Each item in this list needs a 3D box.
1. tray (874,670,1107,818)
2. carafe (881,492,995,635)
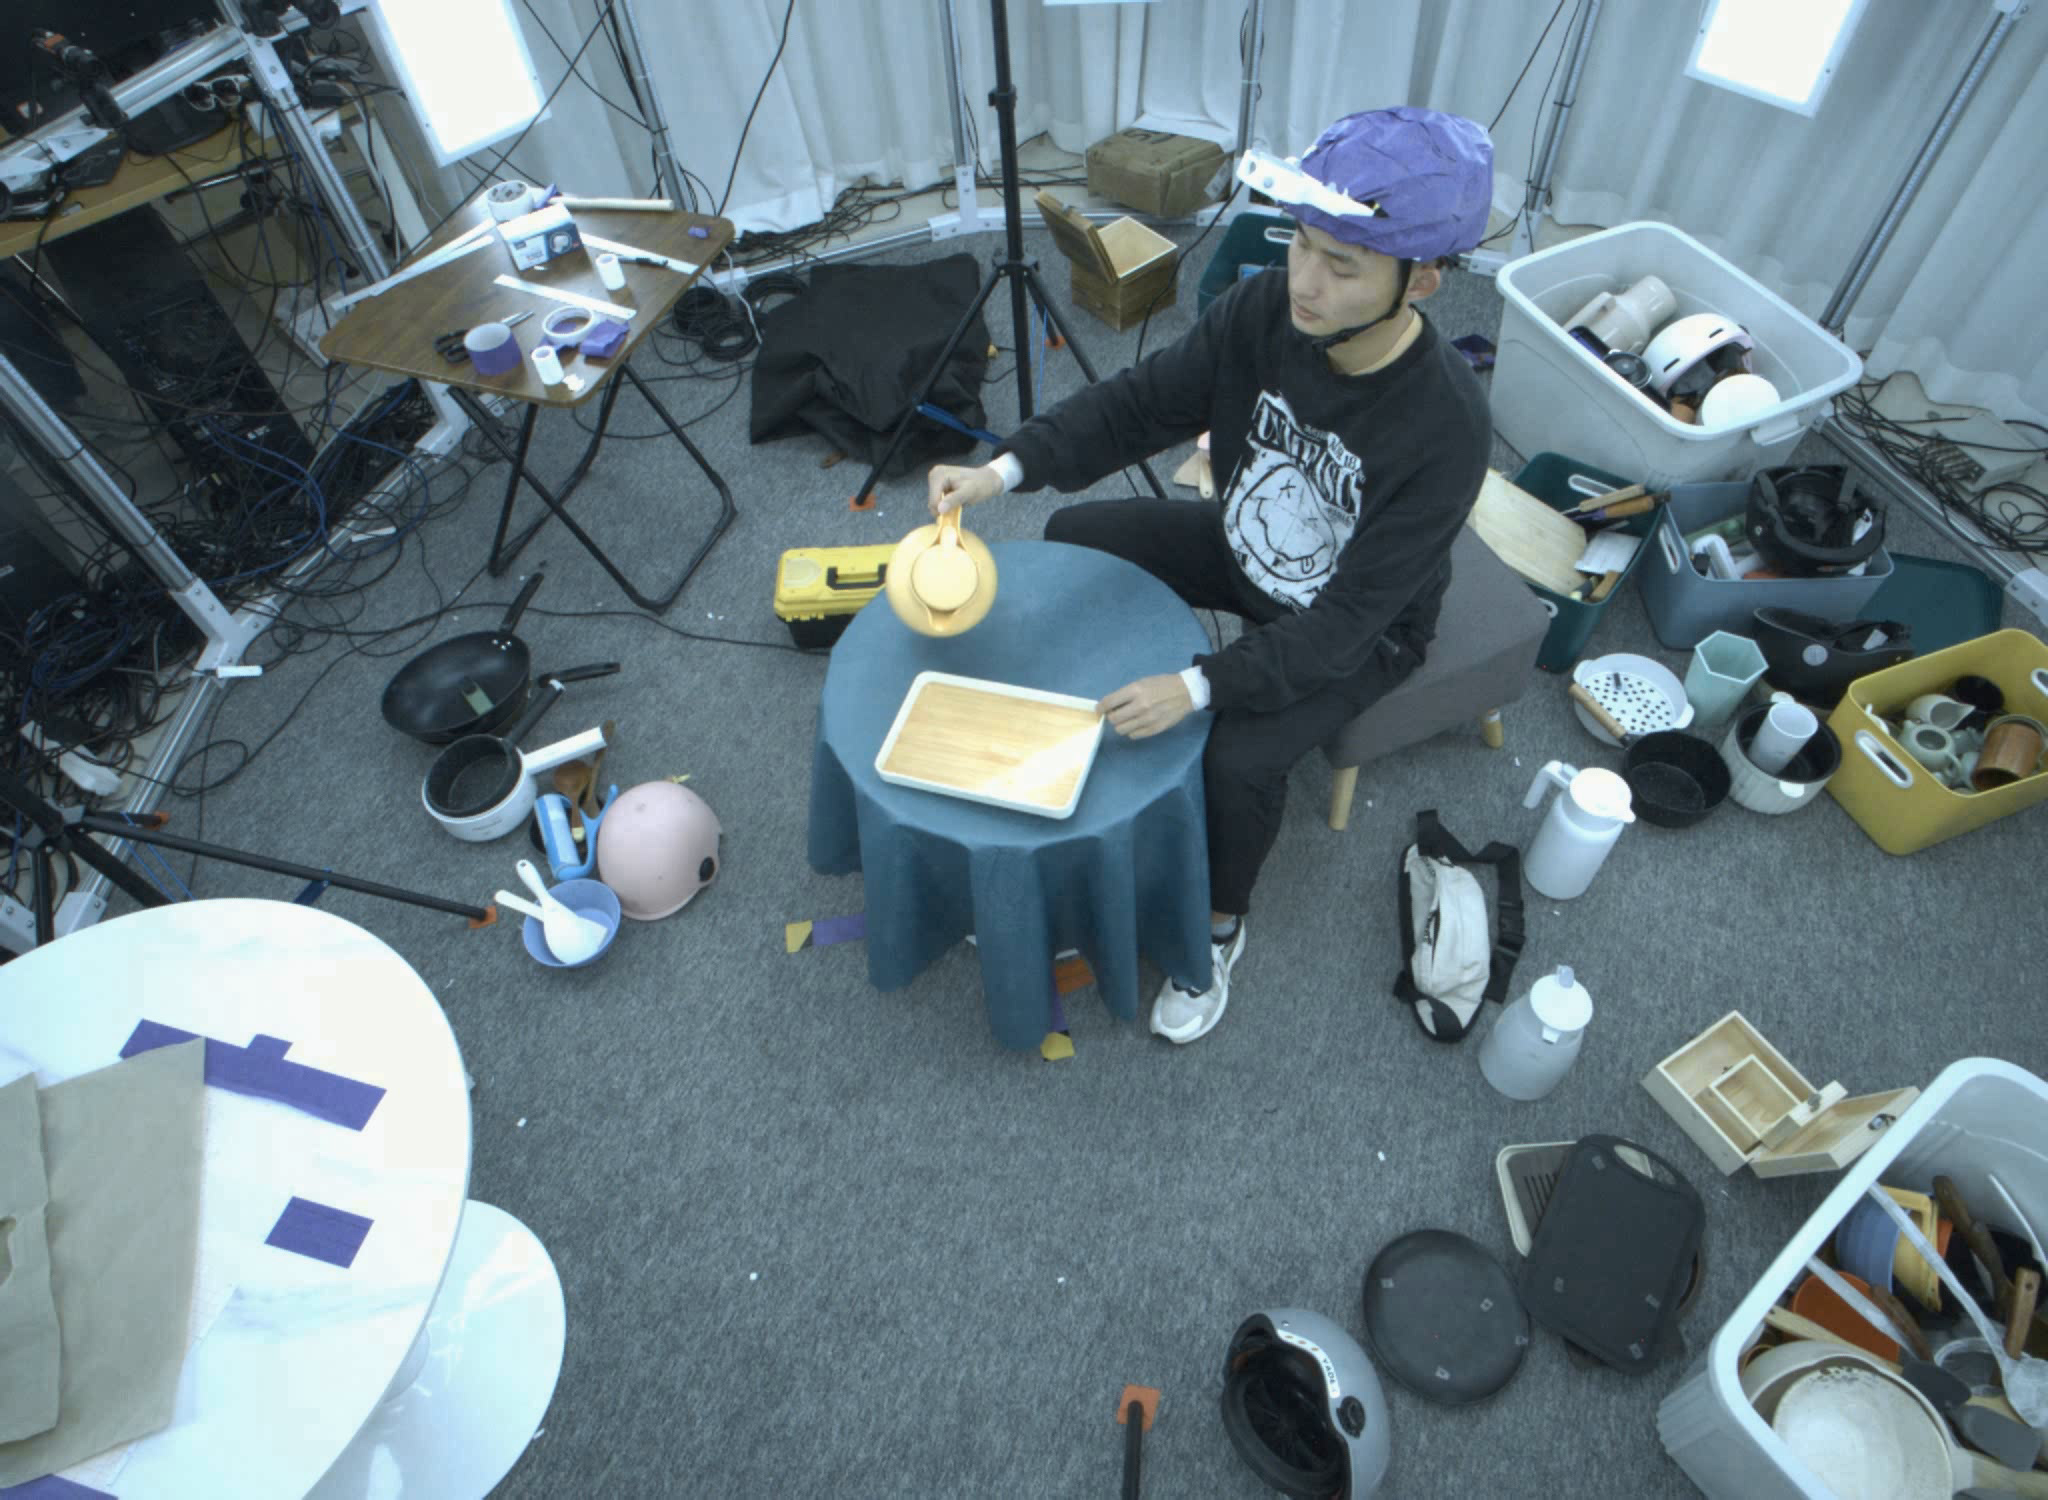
[{"bbox_3d":[-0.047,-0.012,1.757,0.297,0.028,0.191,12,59,16],"label":"tray"},{"bbox_3d":[-0.118,-0.264,1.753,0.165,0.258,0.202,8,95,-10],"label":"carafe"}]
